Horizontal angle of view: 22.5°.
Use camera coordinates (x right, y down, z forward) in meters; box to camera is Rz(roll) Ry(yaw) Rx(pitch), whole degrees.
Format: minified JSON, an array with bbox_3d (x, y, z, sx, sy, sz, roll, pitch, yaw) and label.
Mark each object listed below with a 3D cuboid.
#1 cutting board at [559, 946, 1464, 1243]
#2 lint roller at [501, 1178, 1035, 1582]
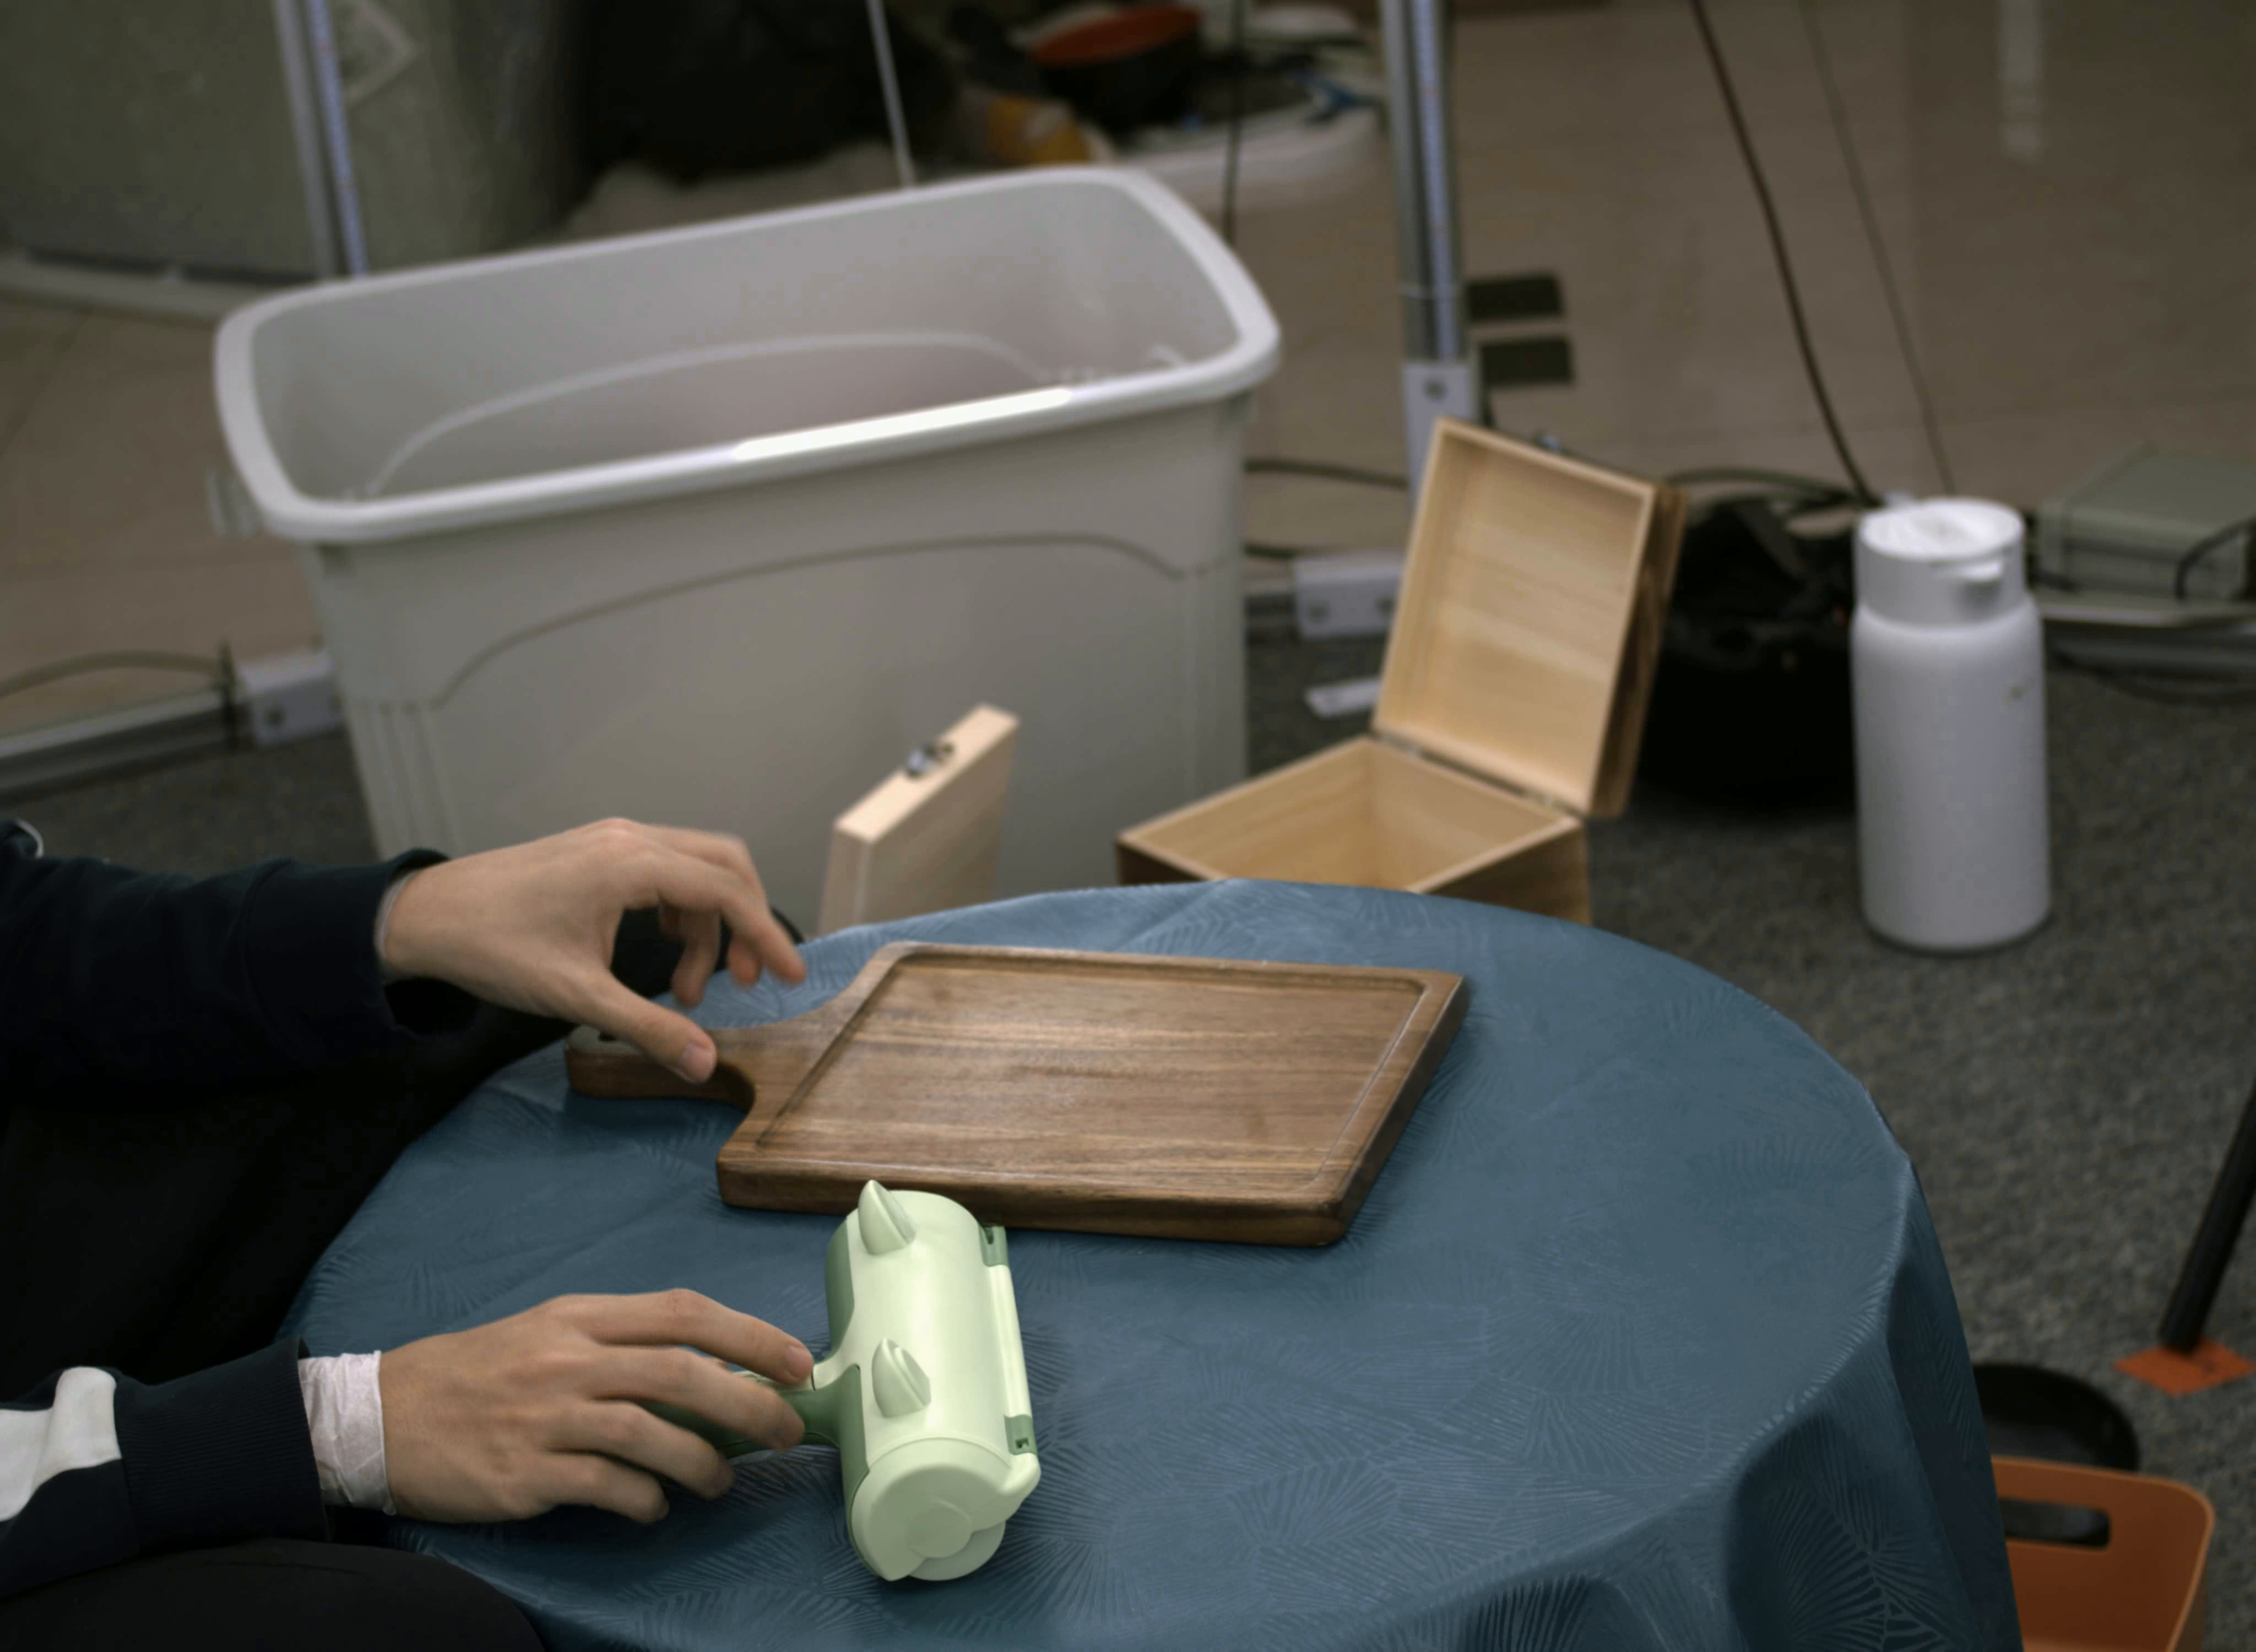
[{"bbox_3d":[-0.058,0.099,2.218,0.351,0.023,0.198,2,26,18],"label":"cutting board"},{"bbox_3d":[-0.129,0.190,1.975,0.183,0.083,0.195,-4,25,-3],"label":"lint roller"}]
